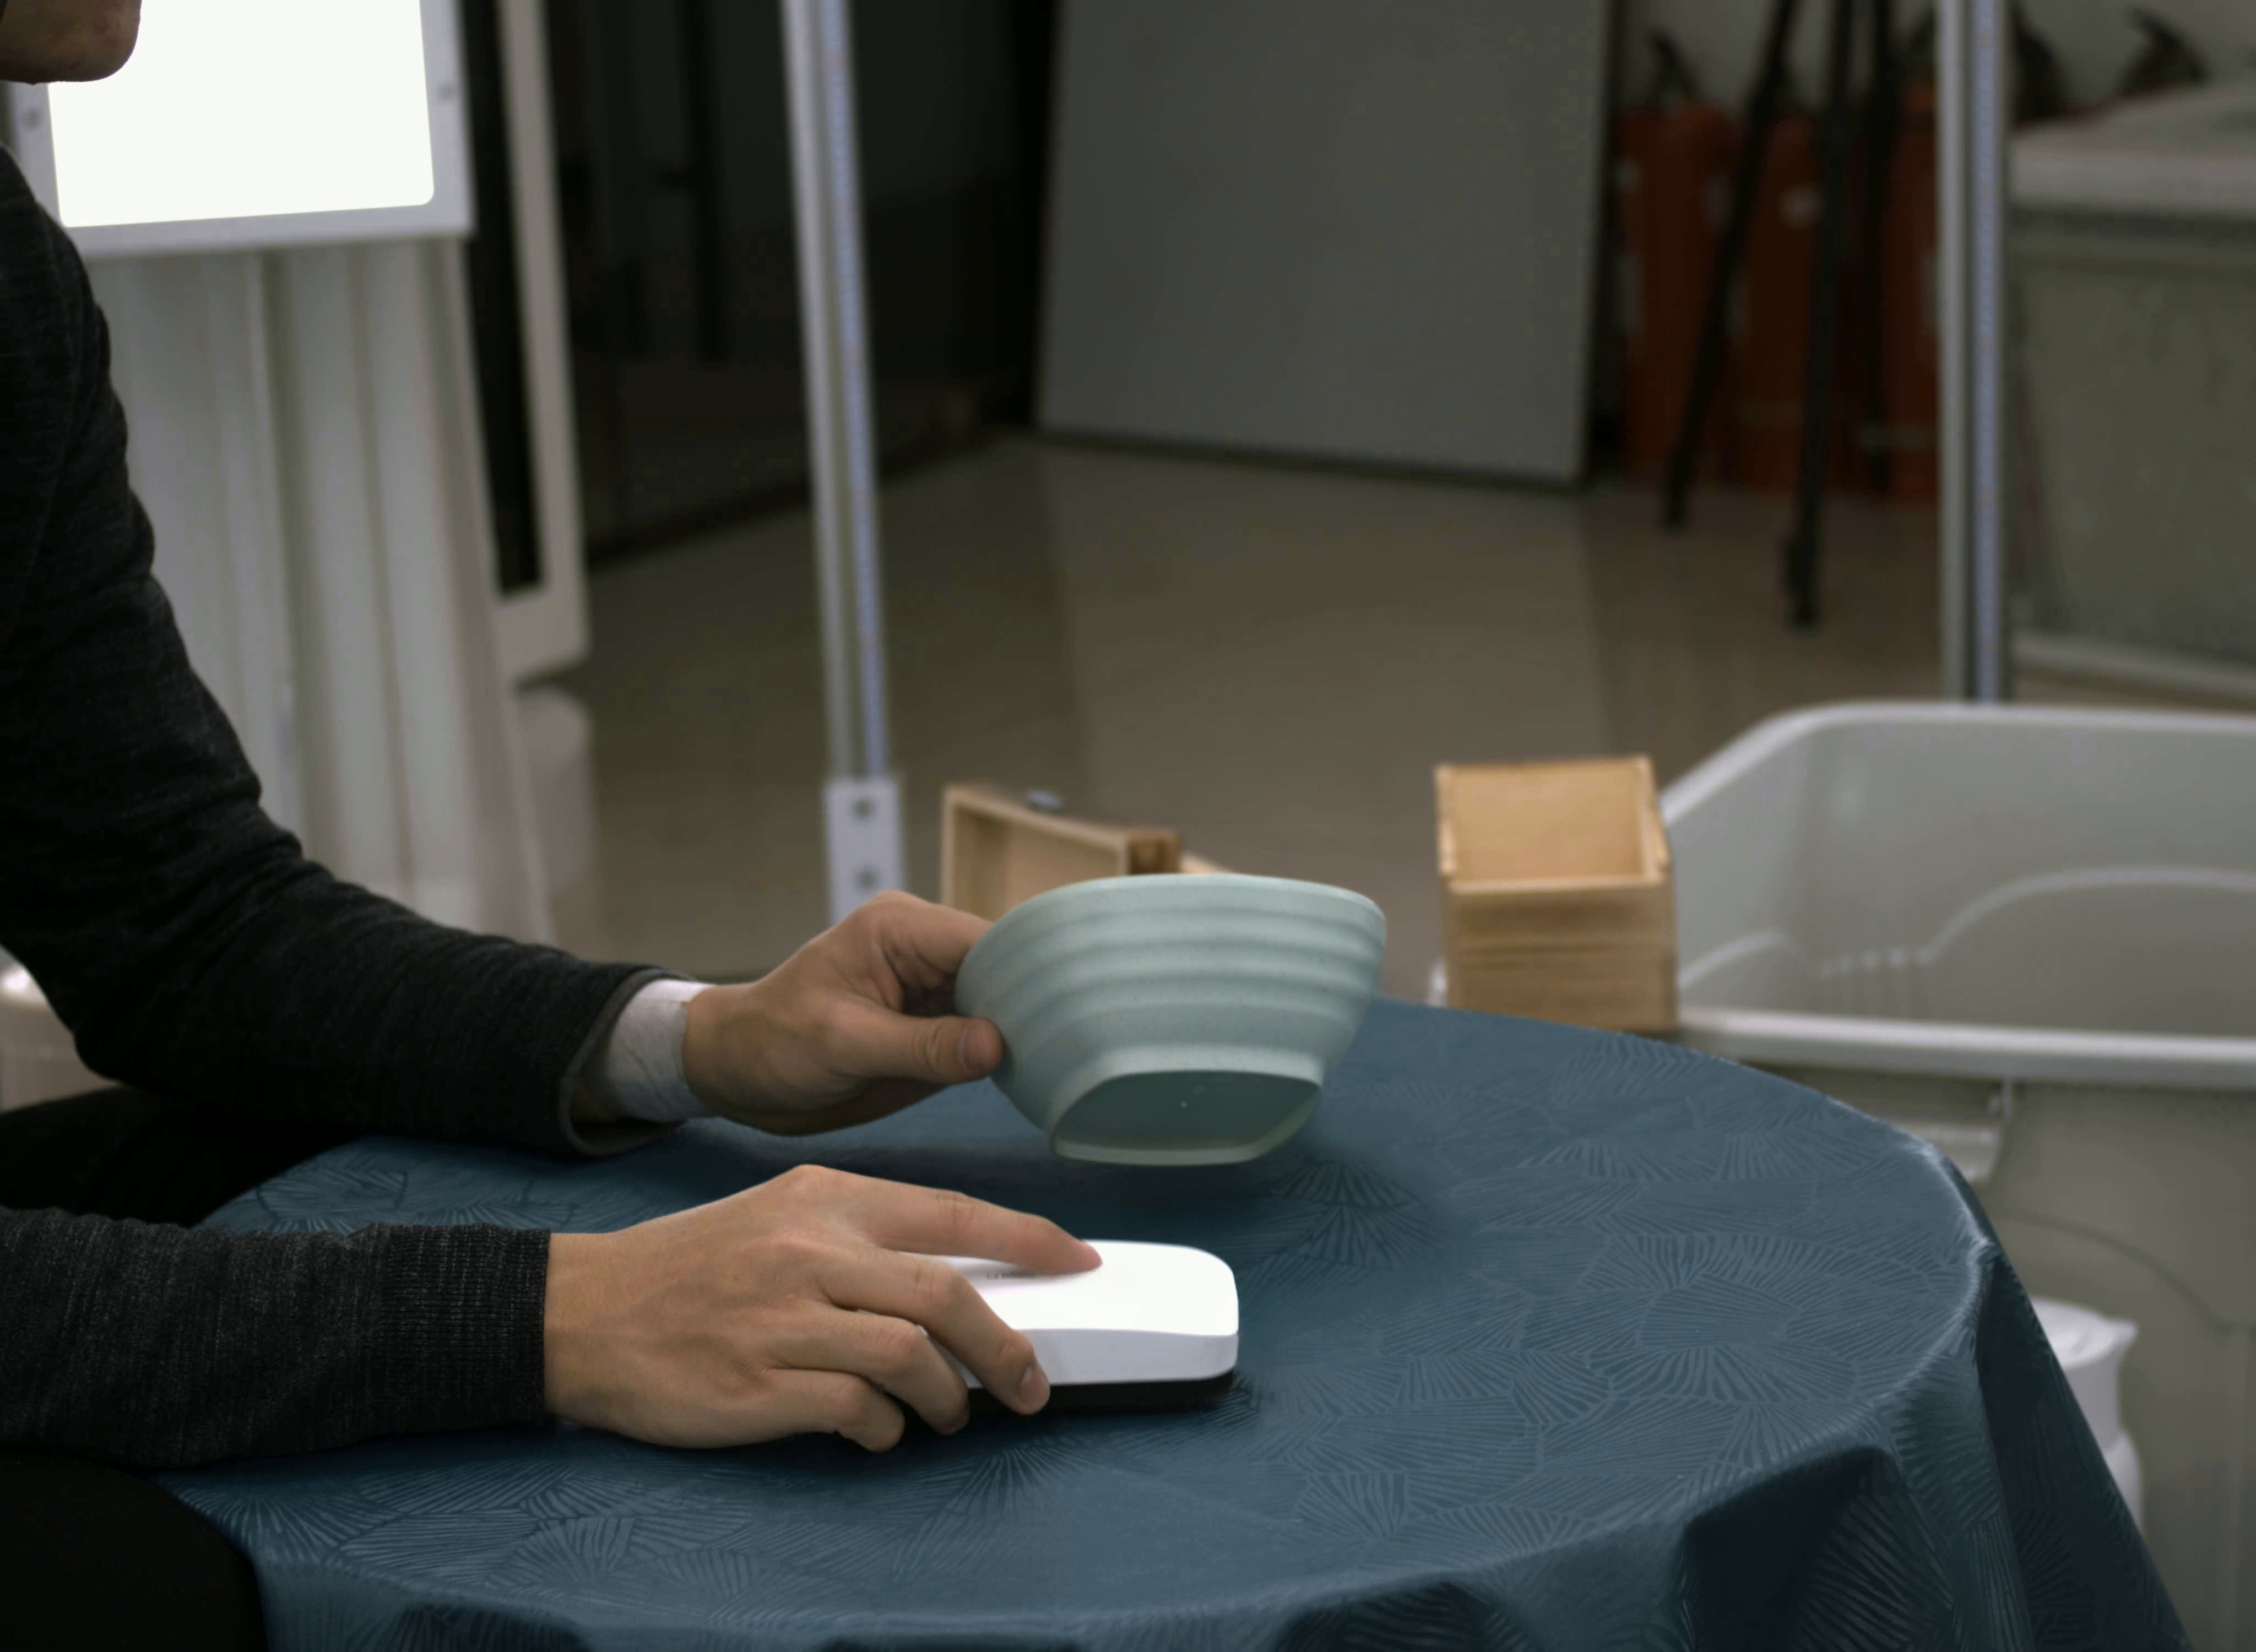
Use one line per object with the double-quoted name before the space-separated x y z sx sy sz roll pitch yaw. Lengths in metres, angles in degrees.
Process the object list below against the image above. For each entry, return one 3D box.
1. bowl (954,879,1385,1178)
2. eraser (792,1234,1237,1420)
"bowl" 0.015 0.072 1.753 0.149 0.059 0.151 -2 -25 -2
"eraser" -0.033 0.148 1.582 0.129 0.035 0.063 0 19 -1
